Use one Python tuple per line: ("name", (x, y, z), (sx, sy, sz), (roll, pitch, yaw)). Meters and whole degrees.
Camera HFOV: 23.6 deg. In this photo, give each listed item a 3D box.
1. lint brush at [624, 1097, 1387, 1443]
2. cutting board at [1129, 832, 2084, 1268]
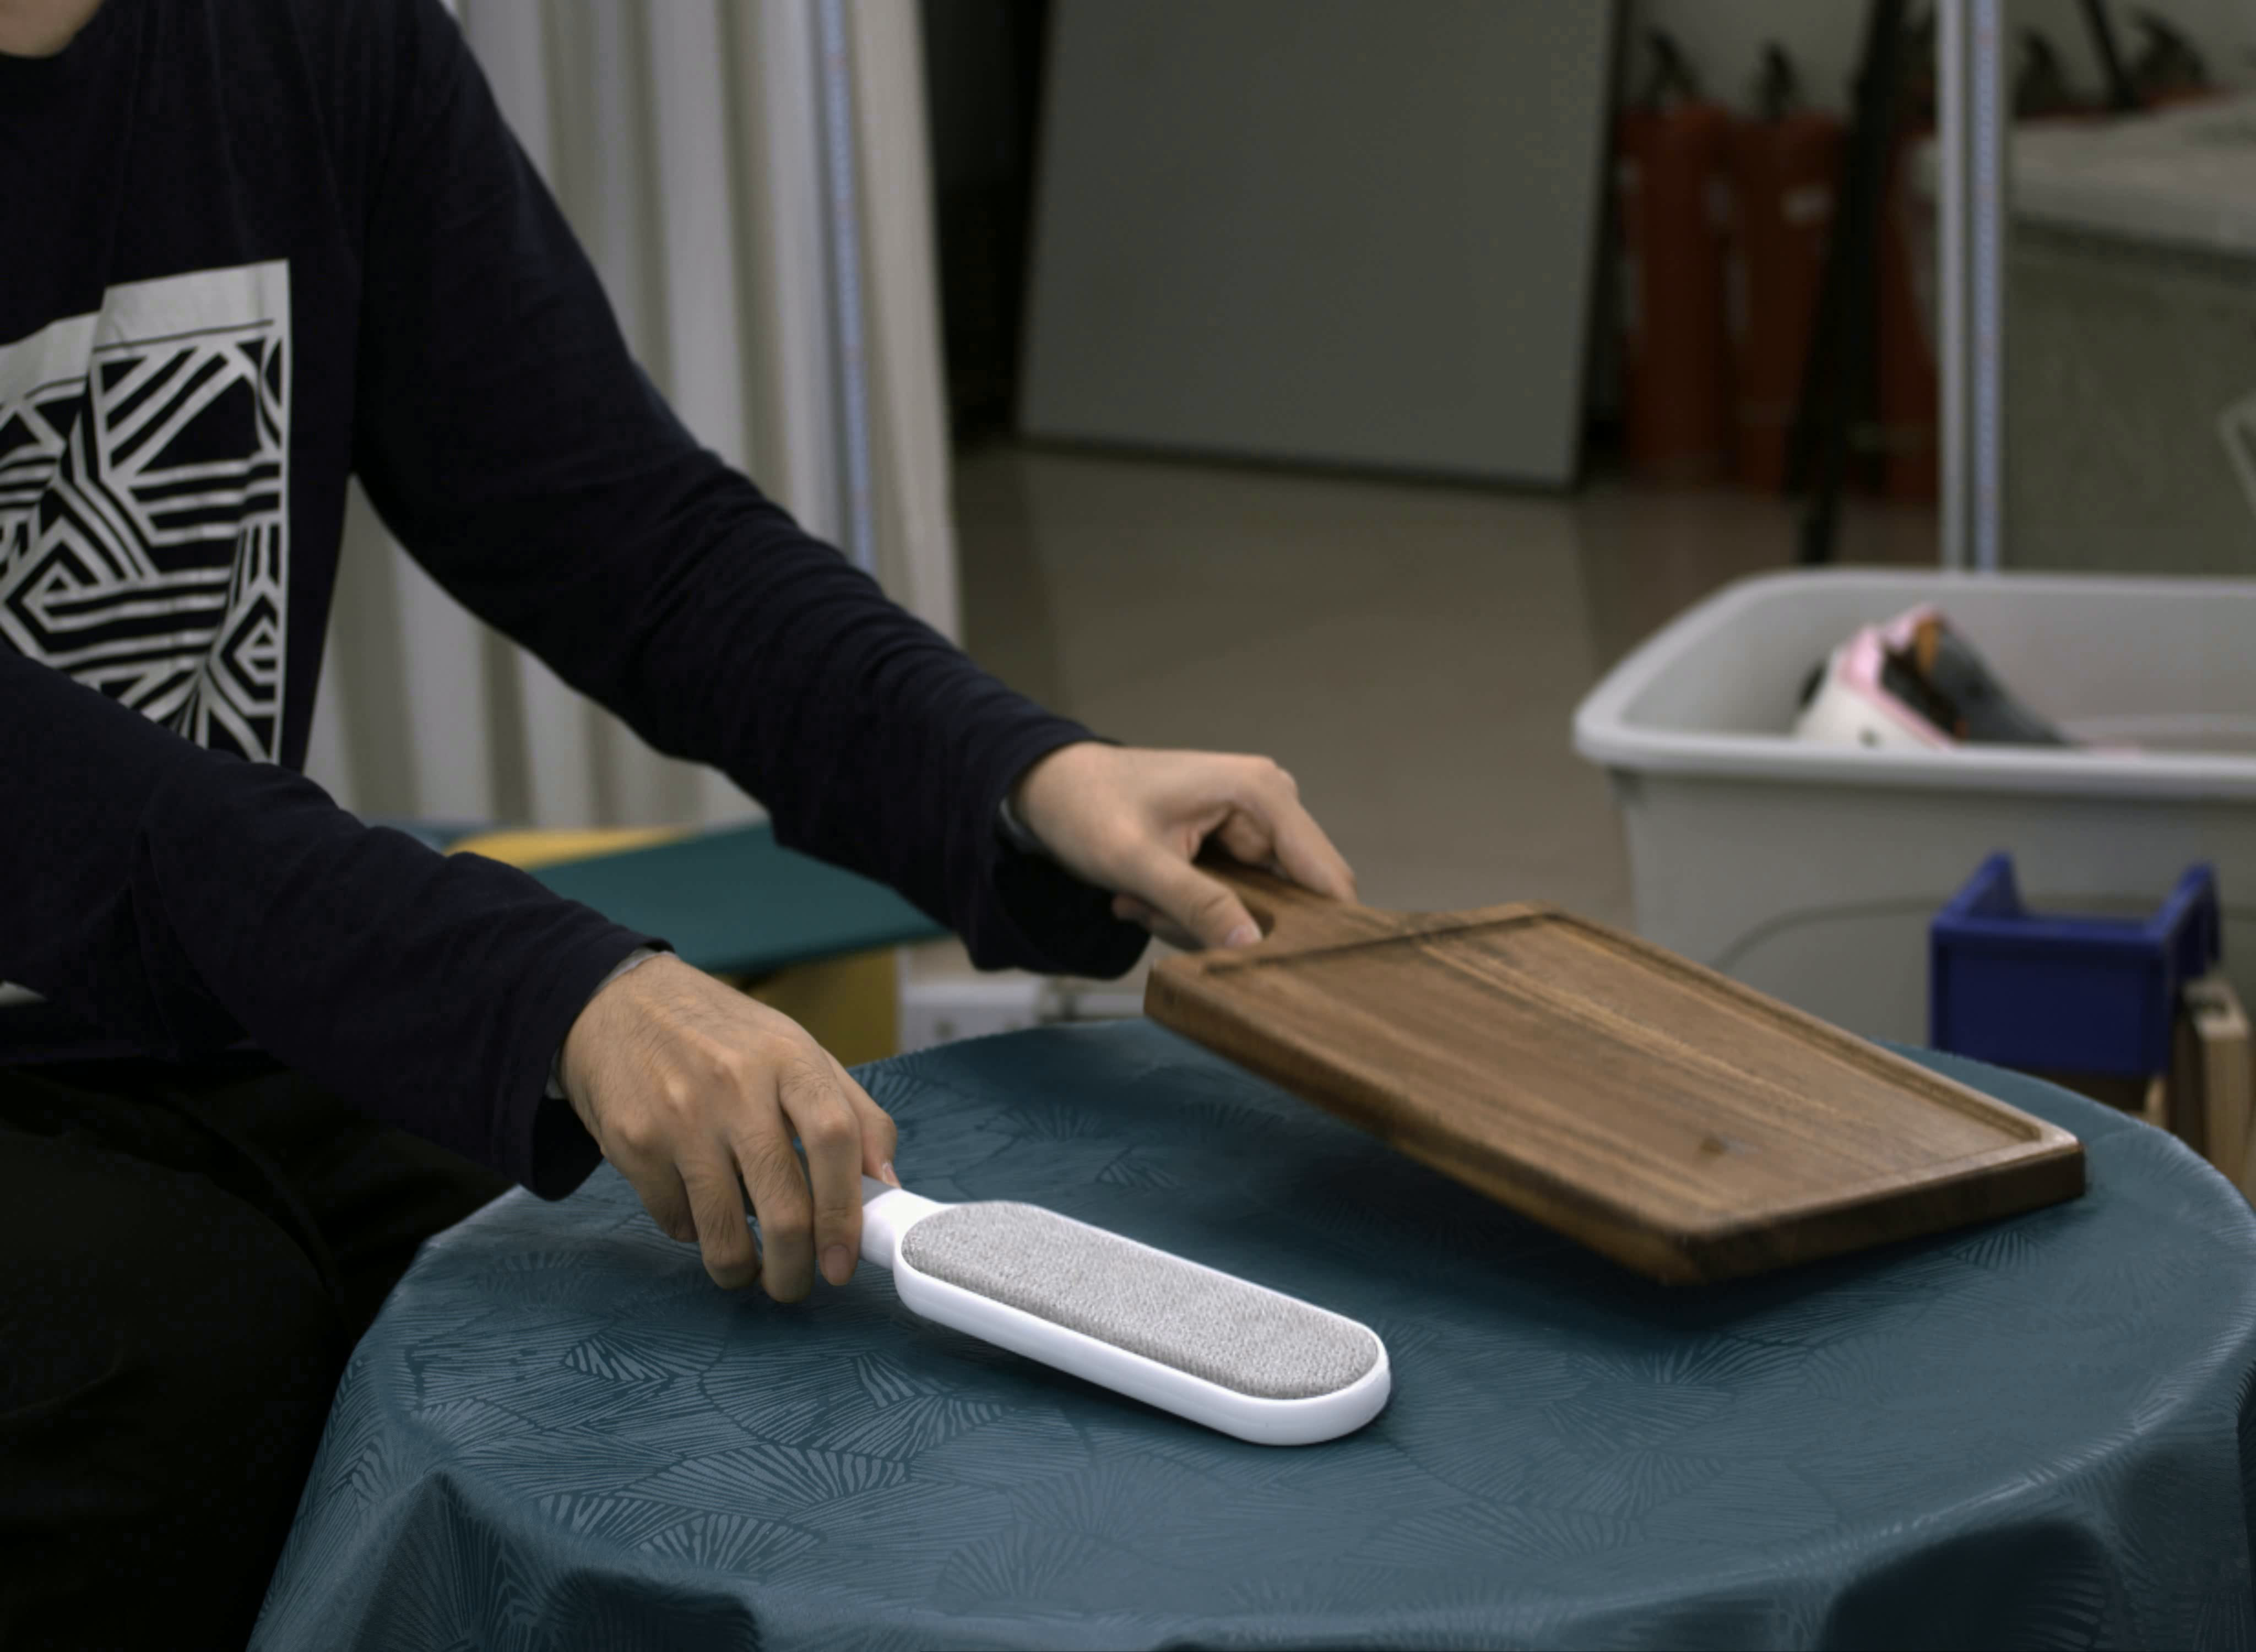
("lint brush", (-0.044, 0.128, 1.633), (0.311, 0.021, 0.059), (17, 40, 41))
("cutting board", (0.122, 0.064, 1.765), (0.196, 0.023, 0.356), (-5, 20, -40))
